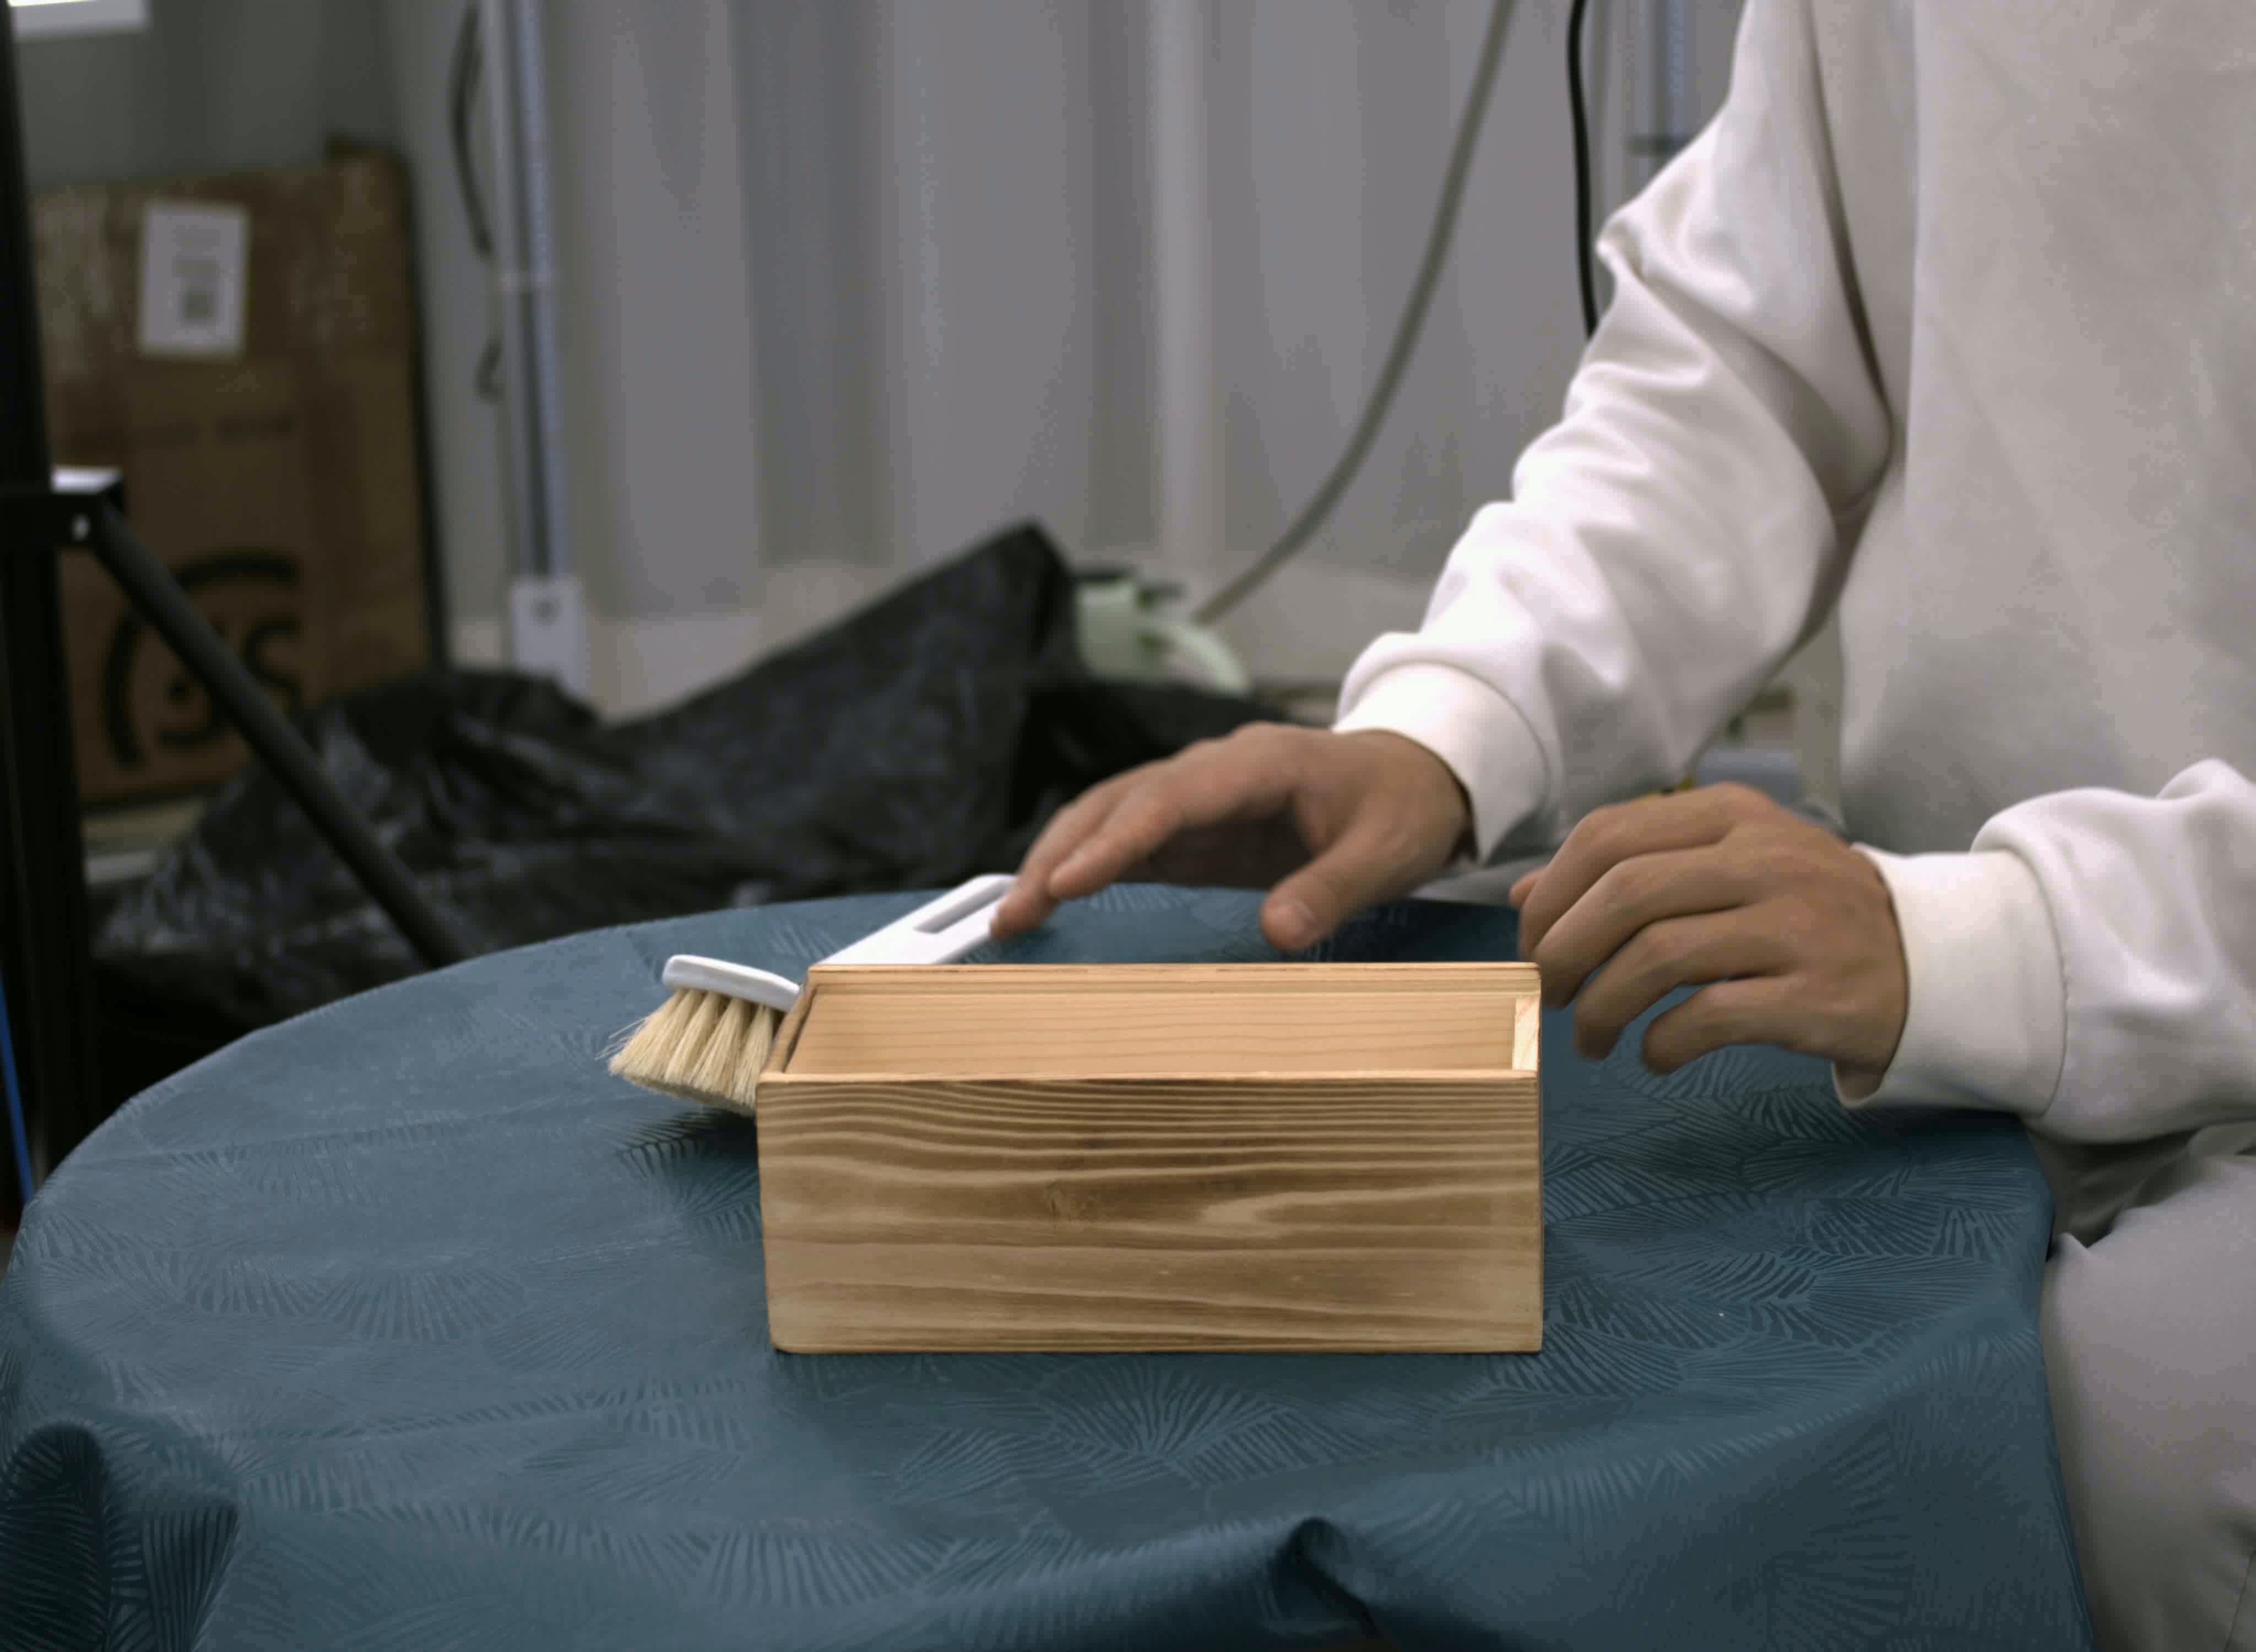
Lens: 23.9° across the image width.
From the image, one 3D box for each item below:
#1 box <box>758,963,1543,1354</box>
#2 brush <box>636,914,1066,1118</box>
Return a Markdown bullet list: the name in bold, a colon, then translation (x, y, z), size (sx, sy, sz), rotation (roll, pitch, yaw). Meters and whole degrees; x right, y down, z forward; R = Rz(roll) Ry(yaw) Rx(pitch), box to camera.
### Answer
- **box**: translation (0.010, 0.091, 1.473), size (0.211, 0.080, 0.107), rotation (0, 15, 7)
- **brush**: translation (-0.079, 0.061, 1.713), size (0.069, 0.056, 0.262), rotation (26, 9, 16)
